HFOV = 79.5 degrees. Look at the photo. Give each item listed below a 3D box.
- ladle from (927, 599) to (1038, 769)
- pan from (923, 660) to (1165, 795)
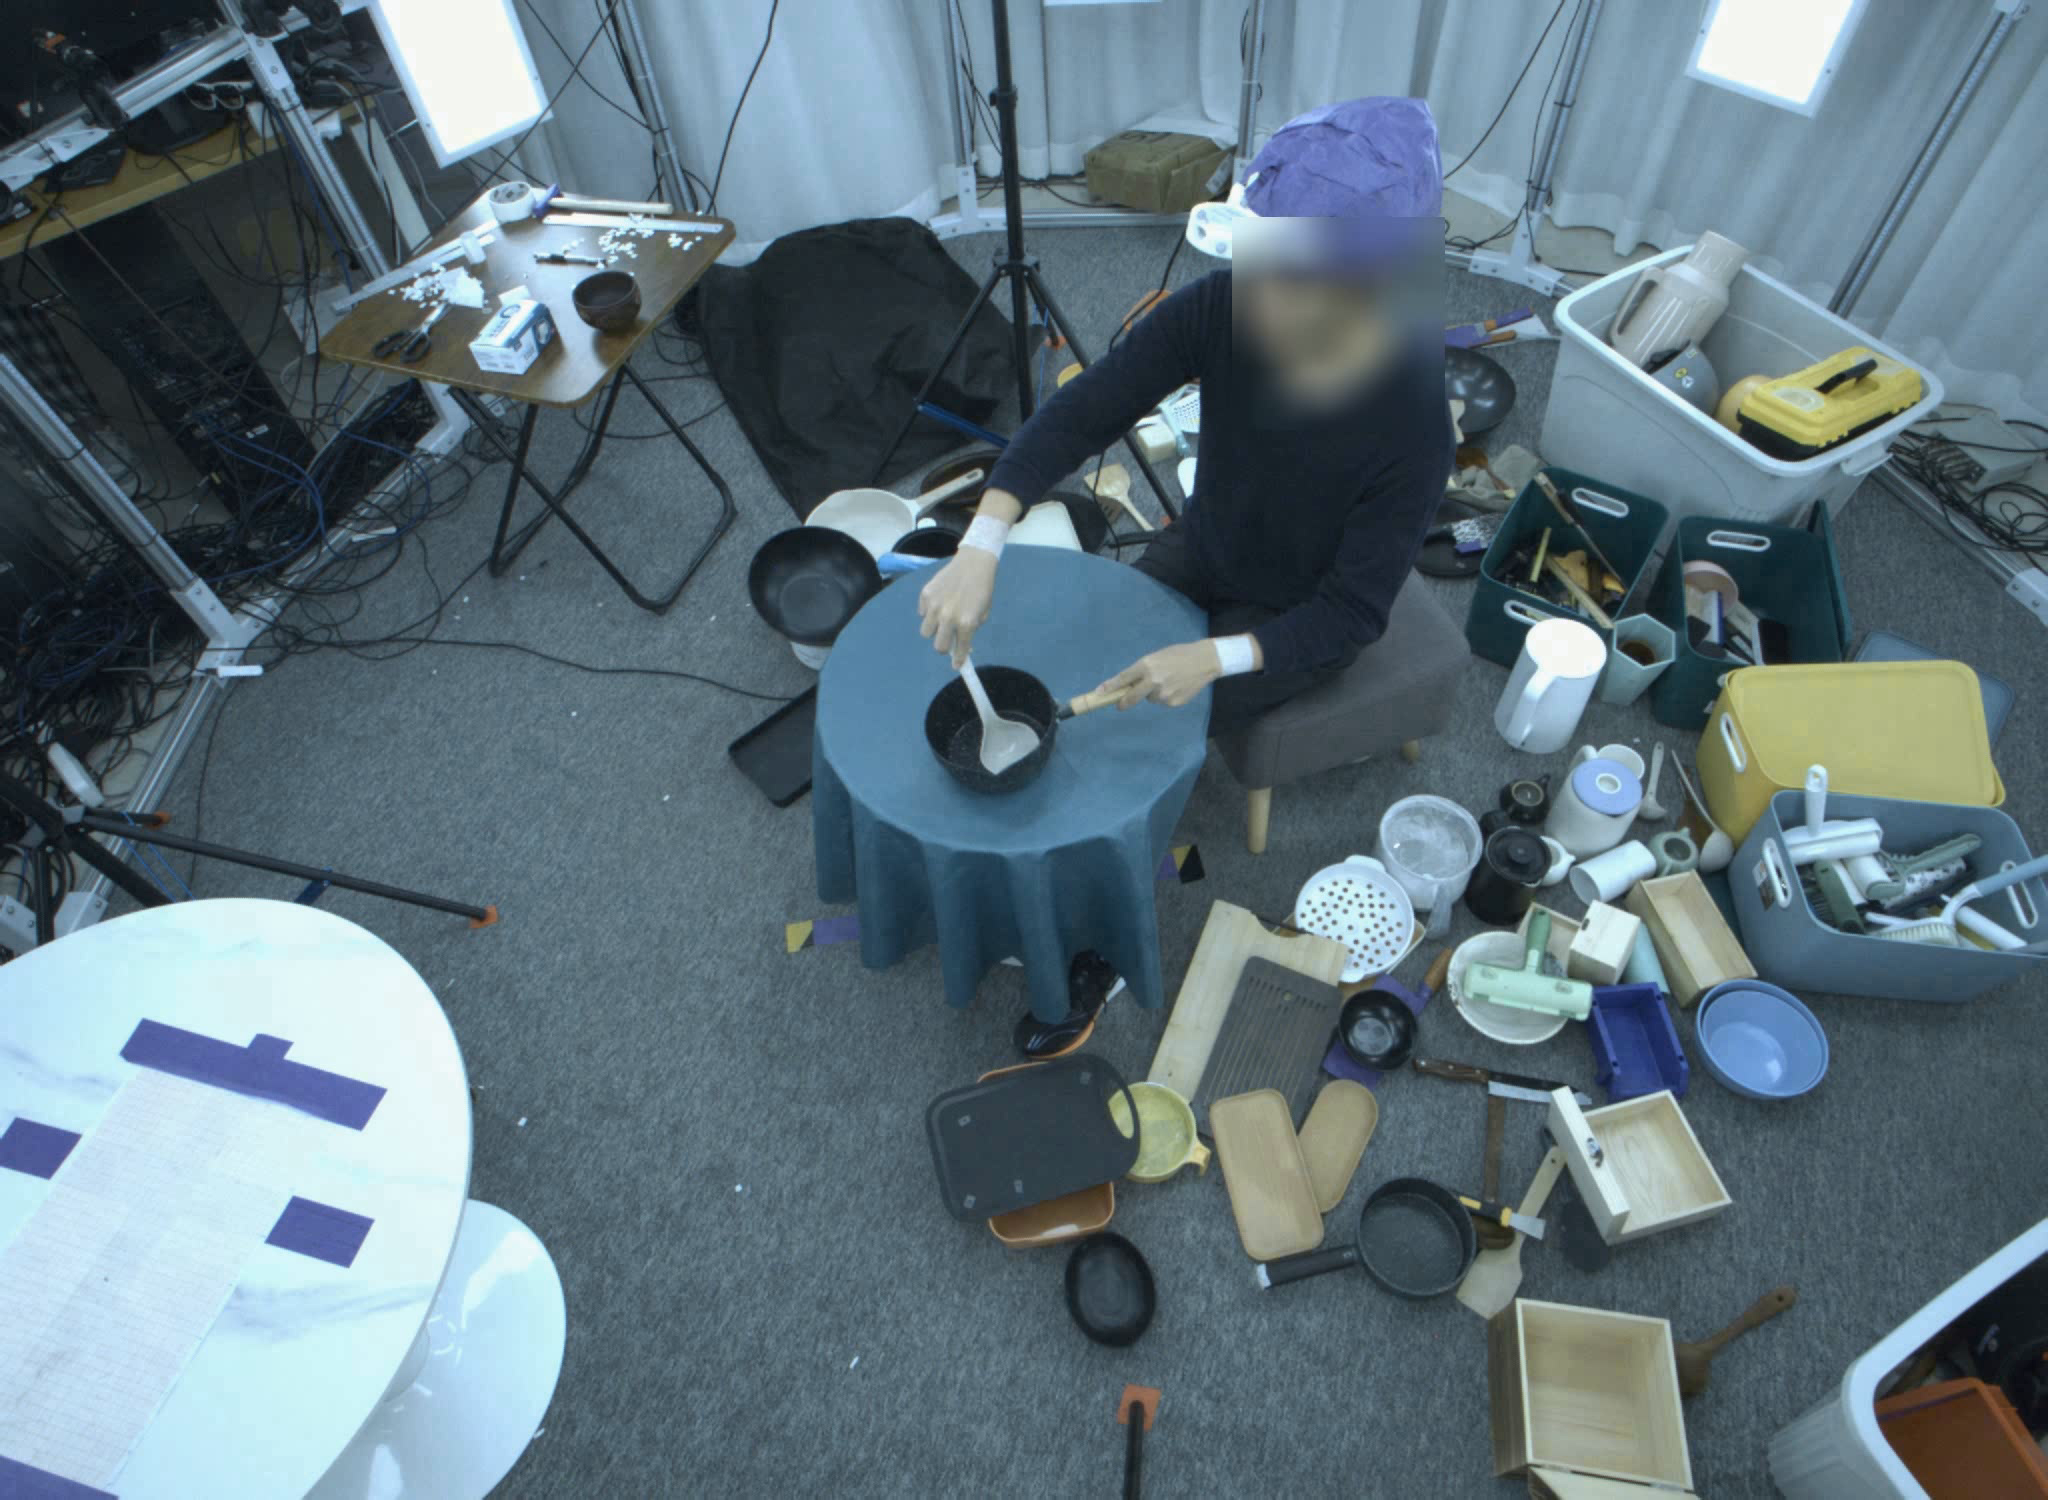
[{"bbox_3d":[-0.059,-0.083,1.670,0.090,0.279,0.068,-36,37,-15],"label":"ladle"},{"bbox_3d":[0.033,-0.044,1.735,0.342,0.110,0.204,-12,53,2],"label":"pan"}]
